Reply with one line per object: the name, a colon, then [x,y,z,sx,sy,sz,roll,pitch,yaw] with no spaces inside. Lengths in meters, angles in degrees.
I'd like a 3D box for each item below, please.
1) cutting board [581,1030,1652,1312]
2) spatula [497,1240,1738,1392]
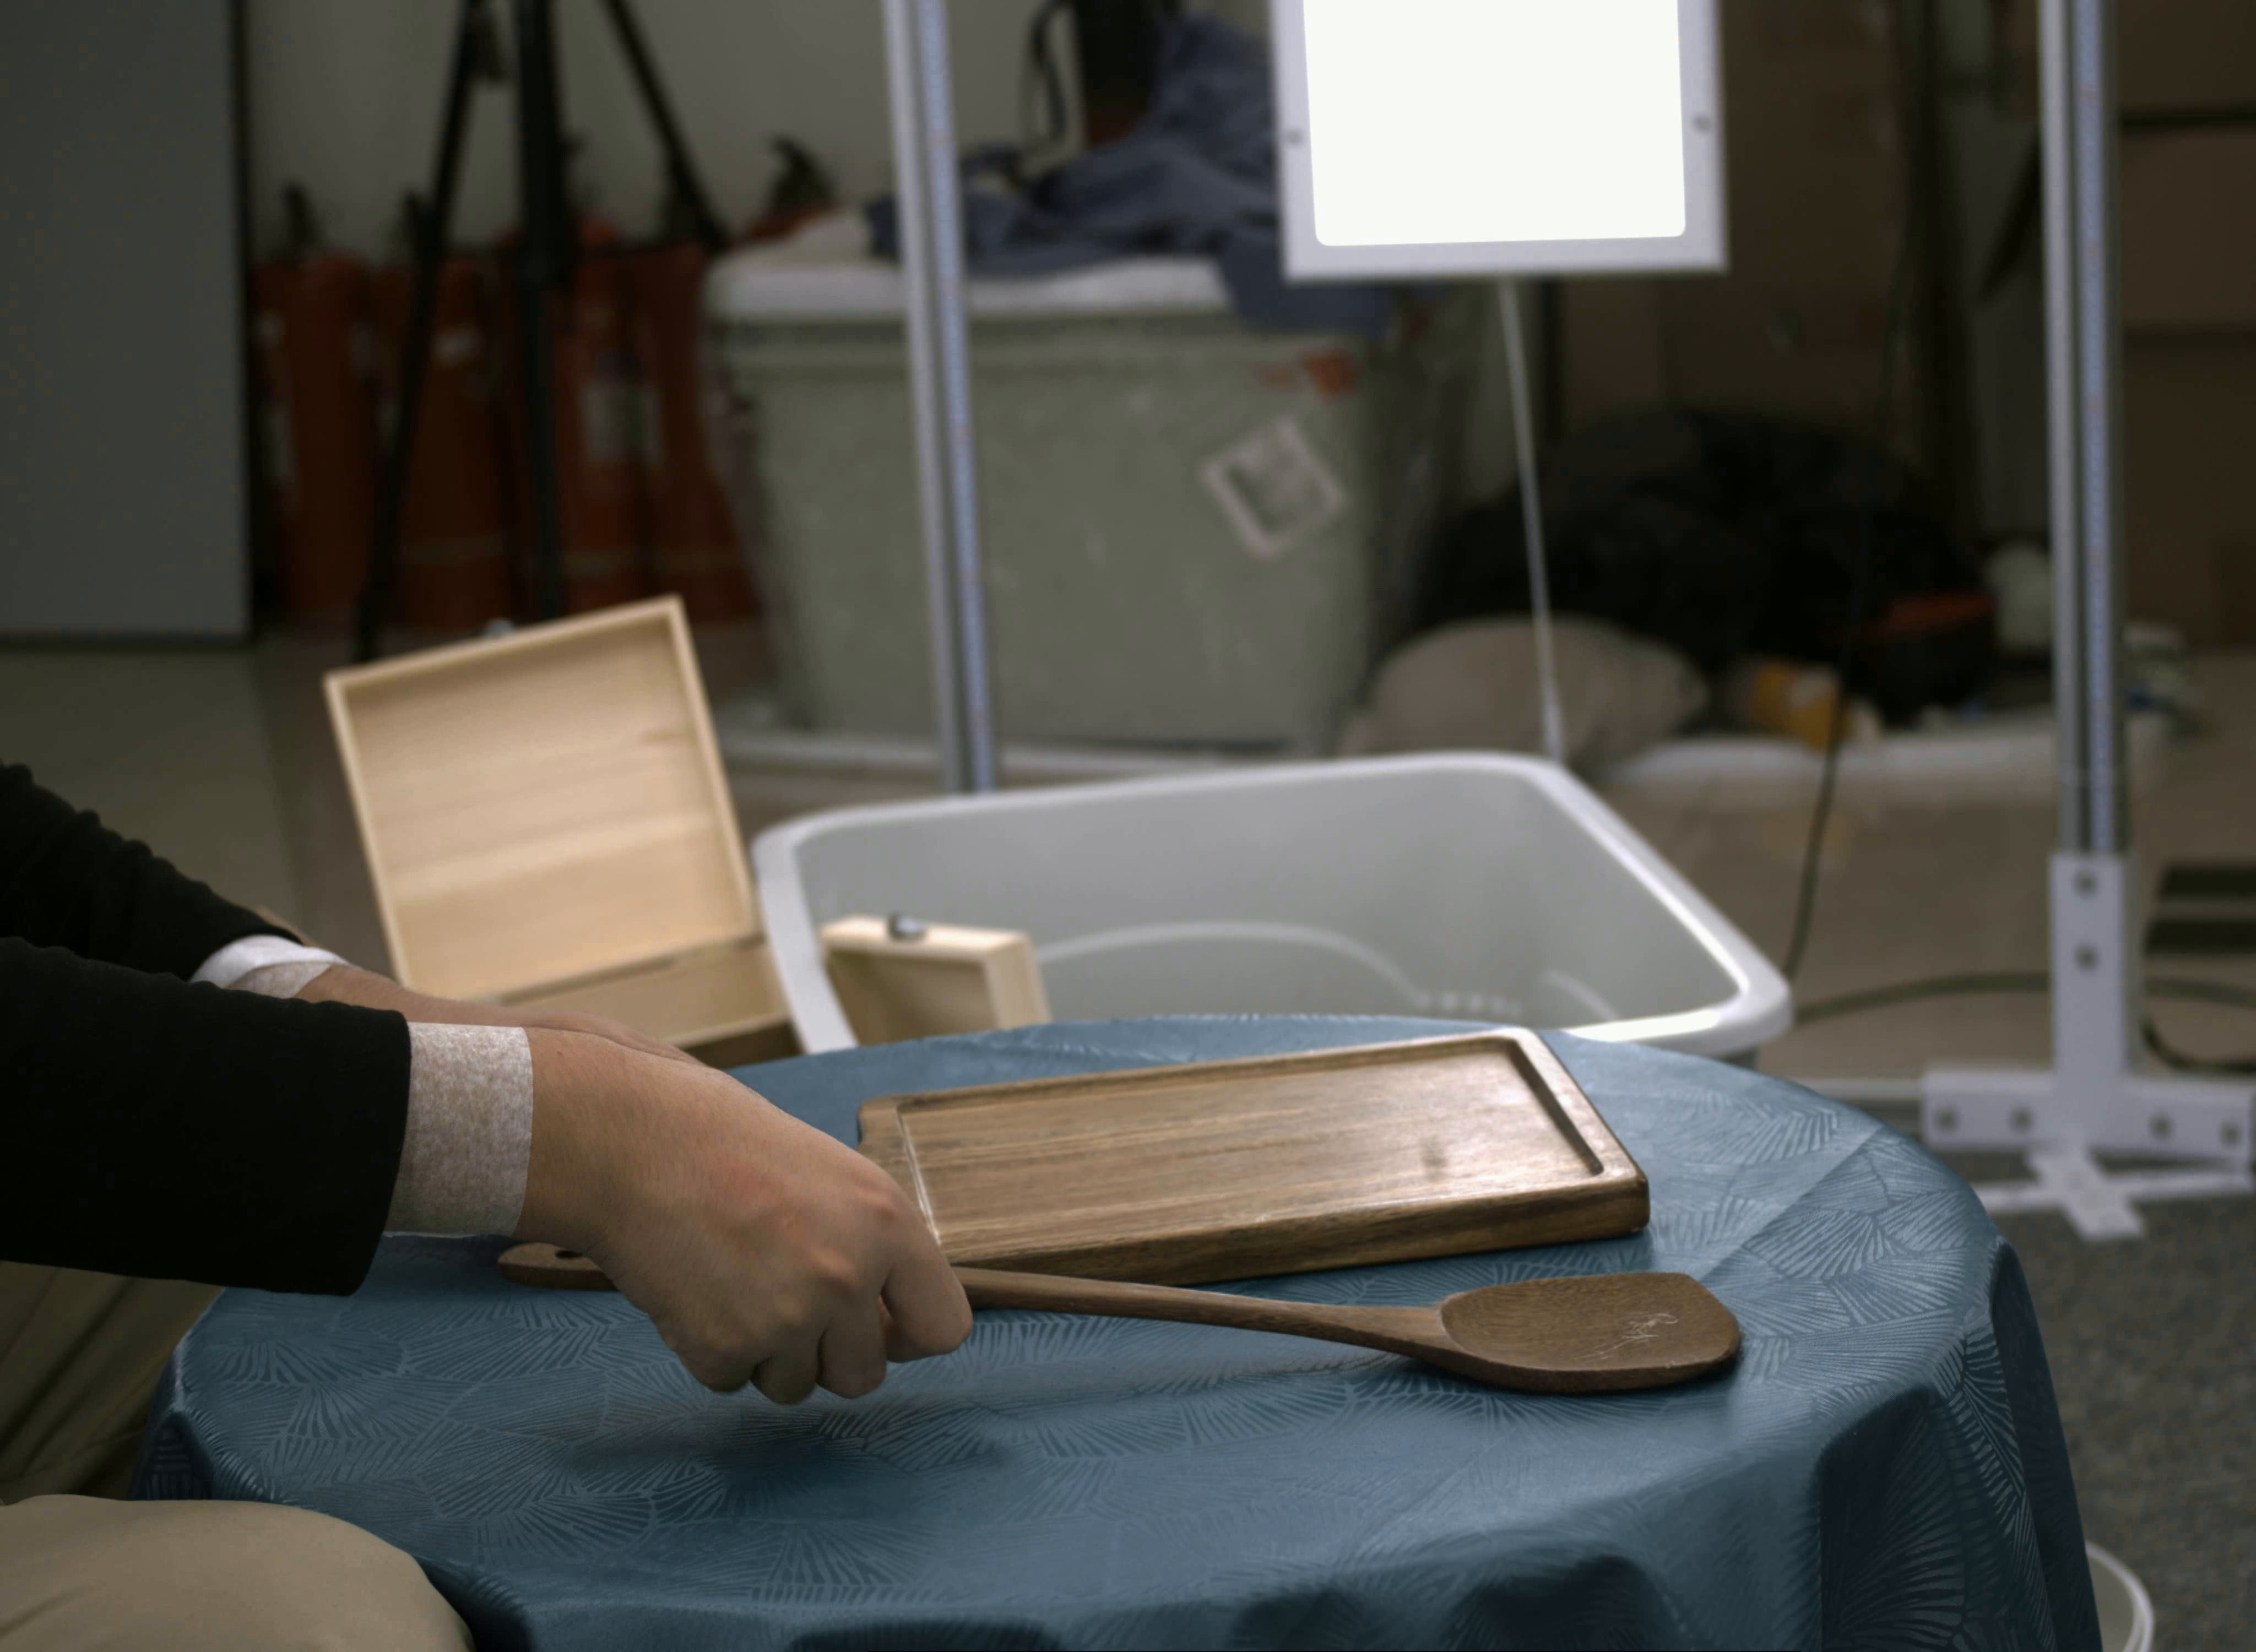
cutting board: [-0.012,0.121,1.884,0.350,0.023,0.201,-6,14,-4]
spatula: [-0.003,0.147,1.705,0.385,0.016,0.095,4,13,2]
